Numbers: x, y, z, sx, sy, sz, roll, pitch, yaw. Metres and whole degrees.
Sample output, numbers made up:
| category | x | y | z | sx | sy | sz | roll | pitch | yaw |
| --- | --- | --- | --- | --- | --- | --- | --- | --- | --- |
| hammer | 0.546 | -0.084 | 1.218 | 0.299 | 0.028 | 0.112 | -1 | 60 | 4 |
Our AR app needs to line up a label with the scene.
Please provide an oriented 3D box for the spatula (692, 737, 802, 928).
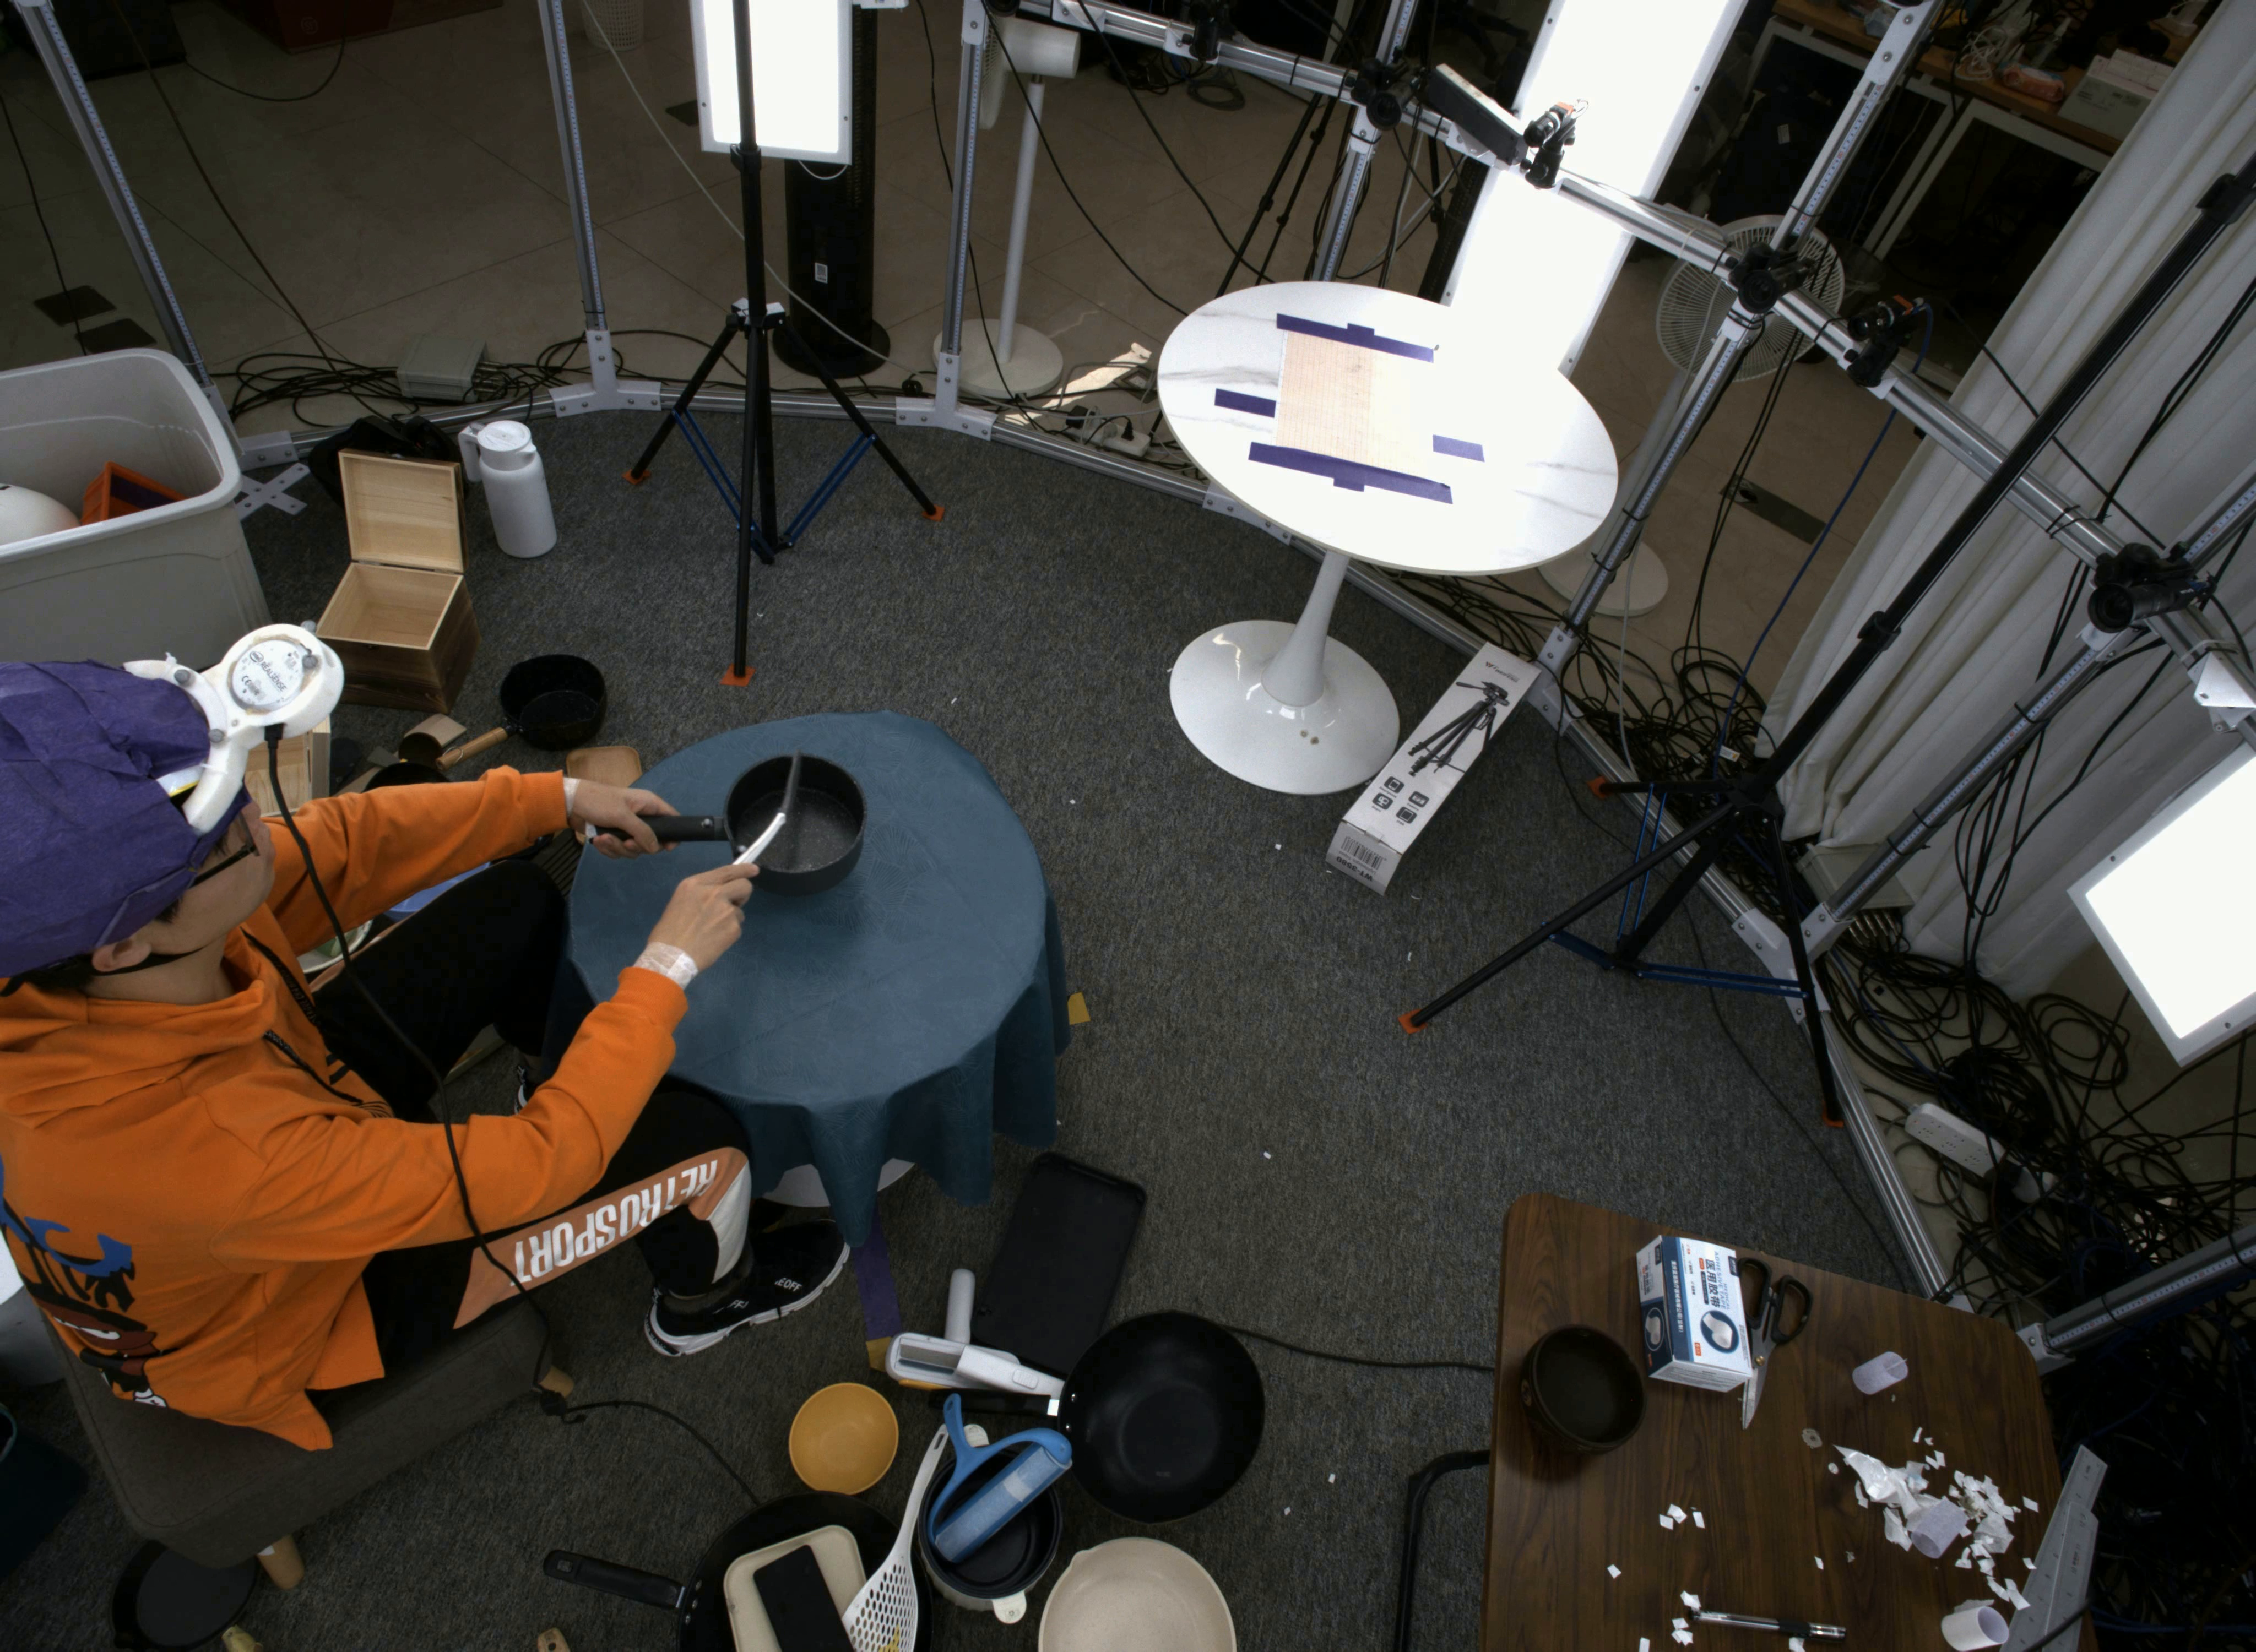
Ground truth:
| category | x | y | z | sx | sy | sz | roll | pitch | yaw |
| --- | --- | --- | --- | --- | --- | --- | --- | --- | --- |
| spatula | -0.427 | 0.004 | 1.500 | 0.032 | 0.060 | 0.284 | 12 | 44 | 6 |

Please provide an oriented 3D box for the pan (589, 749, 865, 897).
| category | x | y | z | sx | sy | sz | roll | pitch | yaw |
| --- | --- | --- | --- | --- | --- | --- | --- | --- | --- |
| pan | -0.484 | 0.002 | 1.561 | 0.330 | 0.088 | 0.169 | -3 | 60 | -18 |
